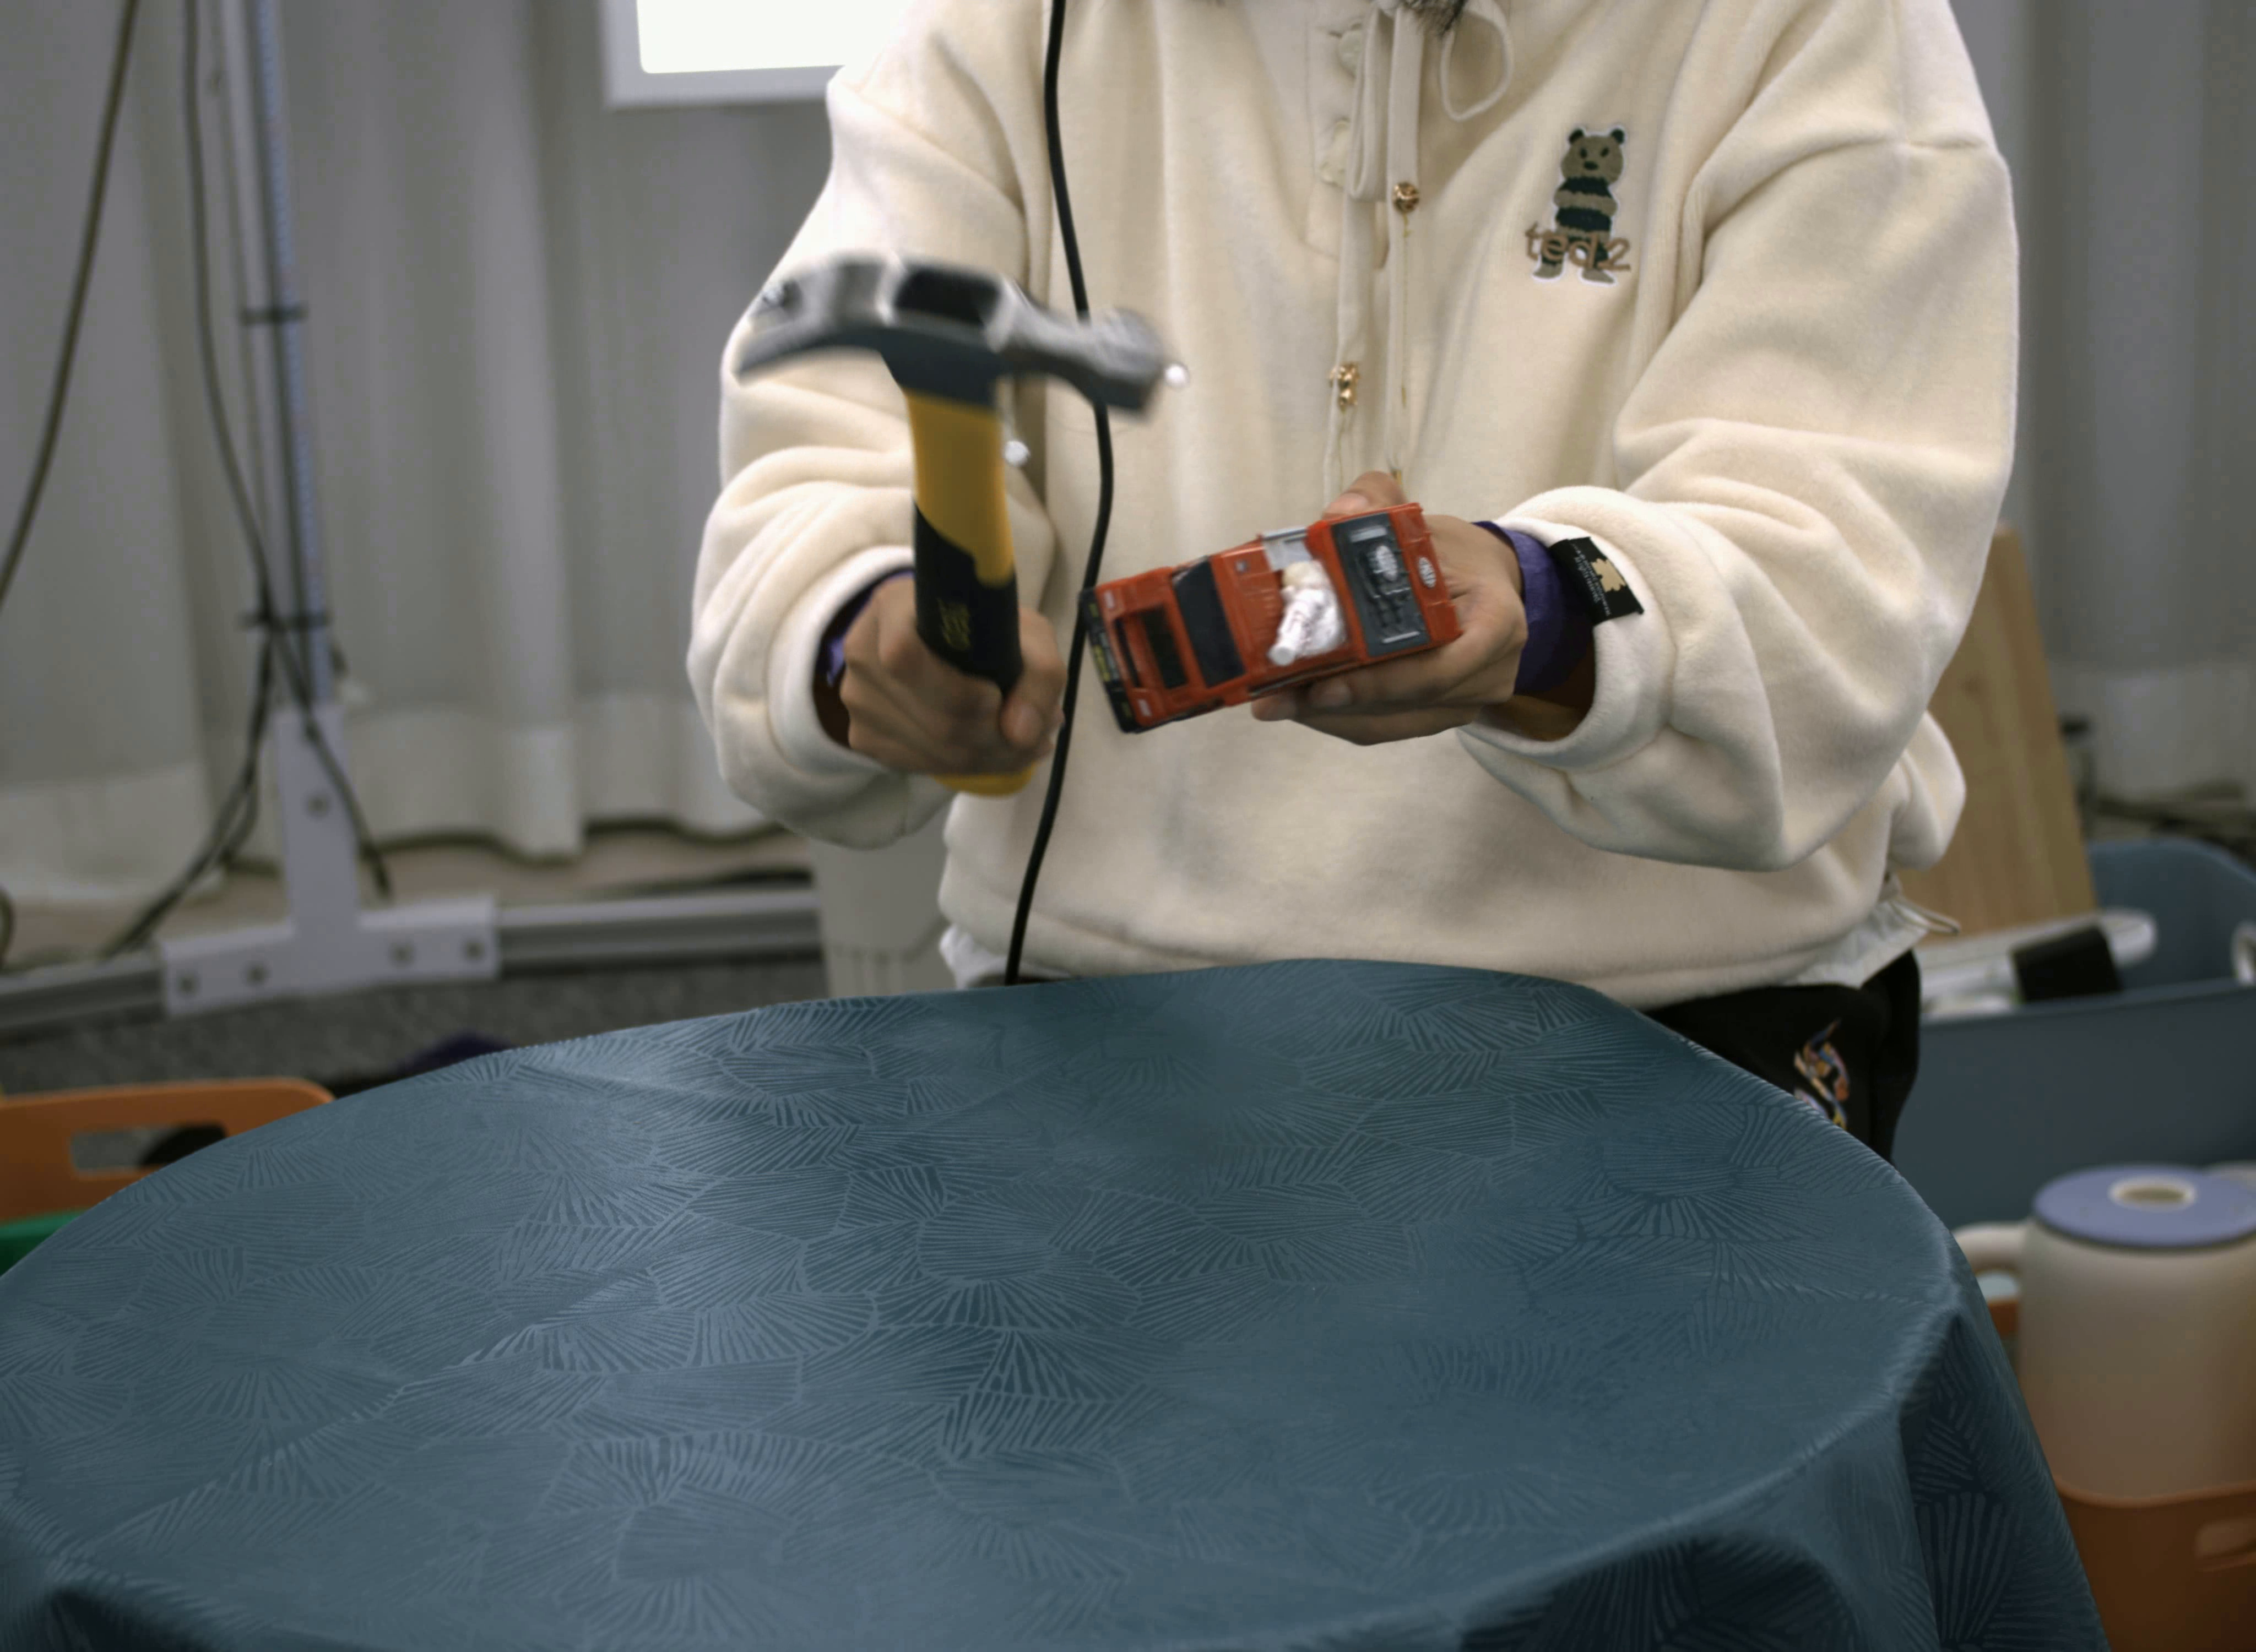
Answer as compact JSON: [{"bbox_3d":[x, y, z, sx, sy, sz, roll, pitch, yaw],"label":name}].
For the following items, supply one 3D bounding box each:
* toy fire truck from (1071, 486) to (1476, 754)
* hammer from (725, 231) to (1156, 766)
[{"bbox_3d":[0.046,-0.062,1.619,0.070,0.054,0.168,-19,-1,26],"label":"toy fire truck"},{"bbox_3d":[-0.054,-0.099,1.768,0.131,0.032,0.335,13,-22,7],"label":"hammer"}]
